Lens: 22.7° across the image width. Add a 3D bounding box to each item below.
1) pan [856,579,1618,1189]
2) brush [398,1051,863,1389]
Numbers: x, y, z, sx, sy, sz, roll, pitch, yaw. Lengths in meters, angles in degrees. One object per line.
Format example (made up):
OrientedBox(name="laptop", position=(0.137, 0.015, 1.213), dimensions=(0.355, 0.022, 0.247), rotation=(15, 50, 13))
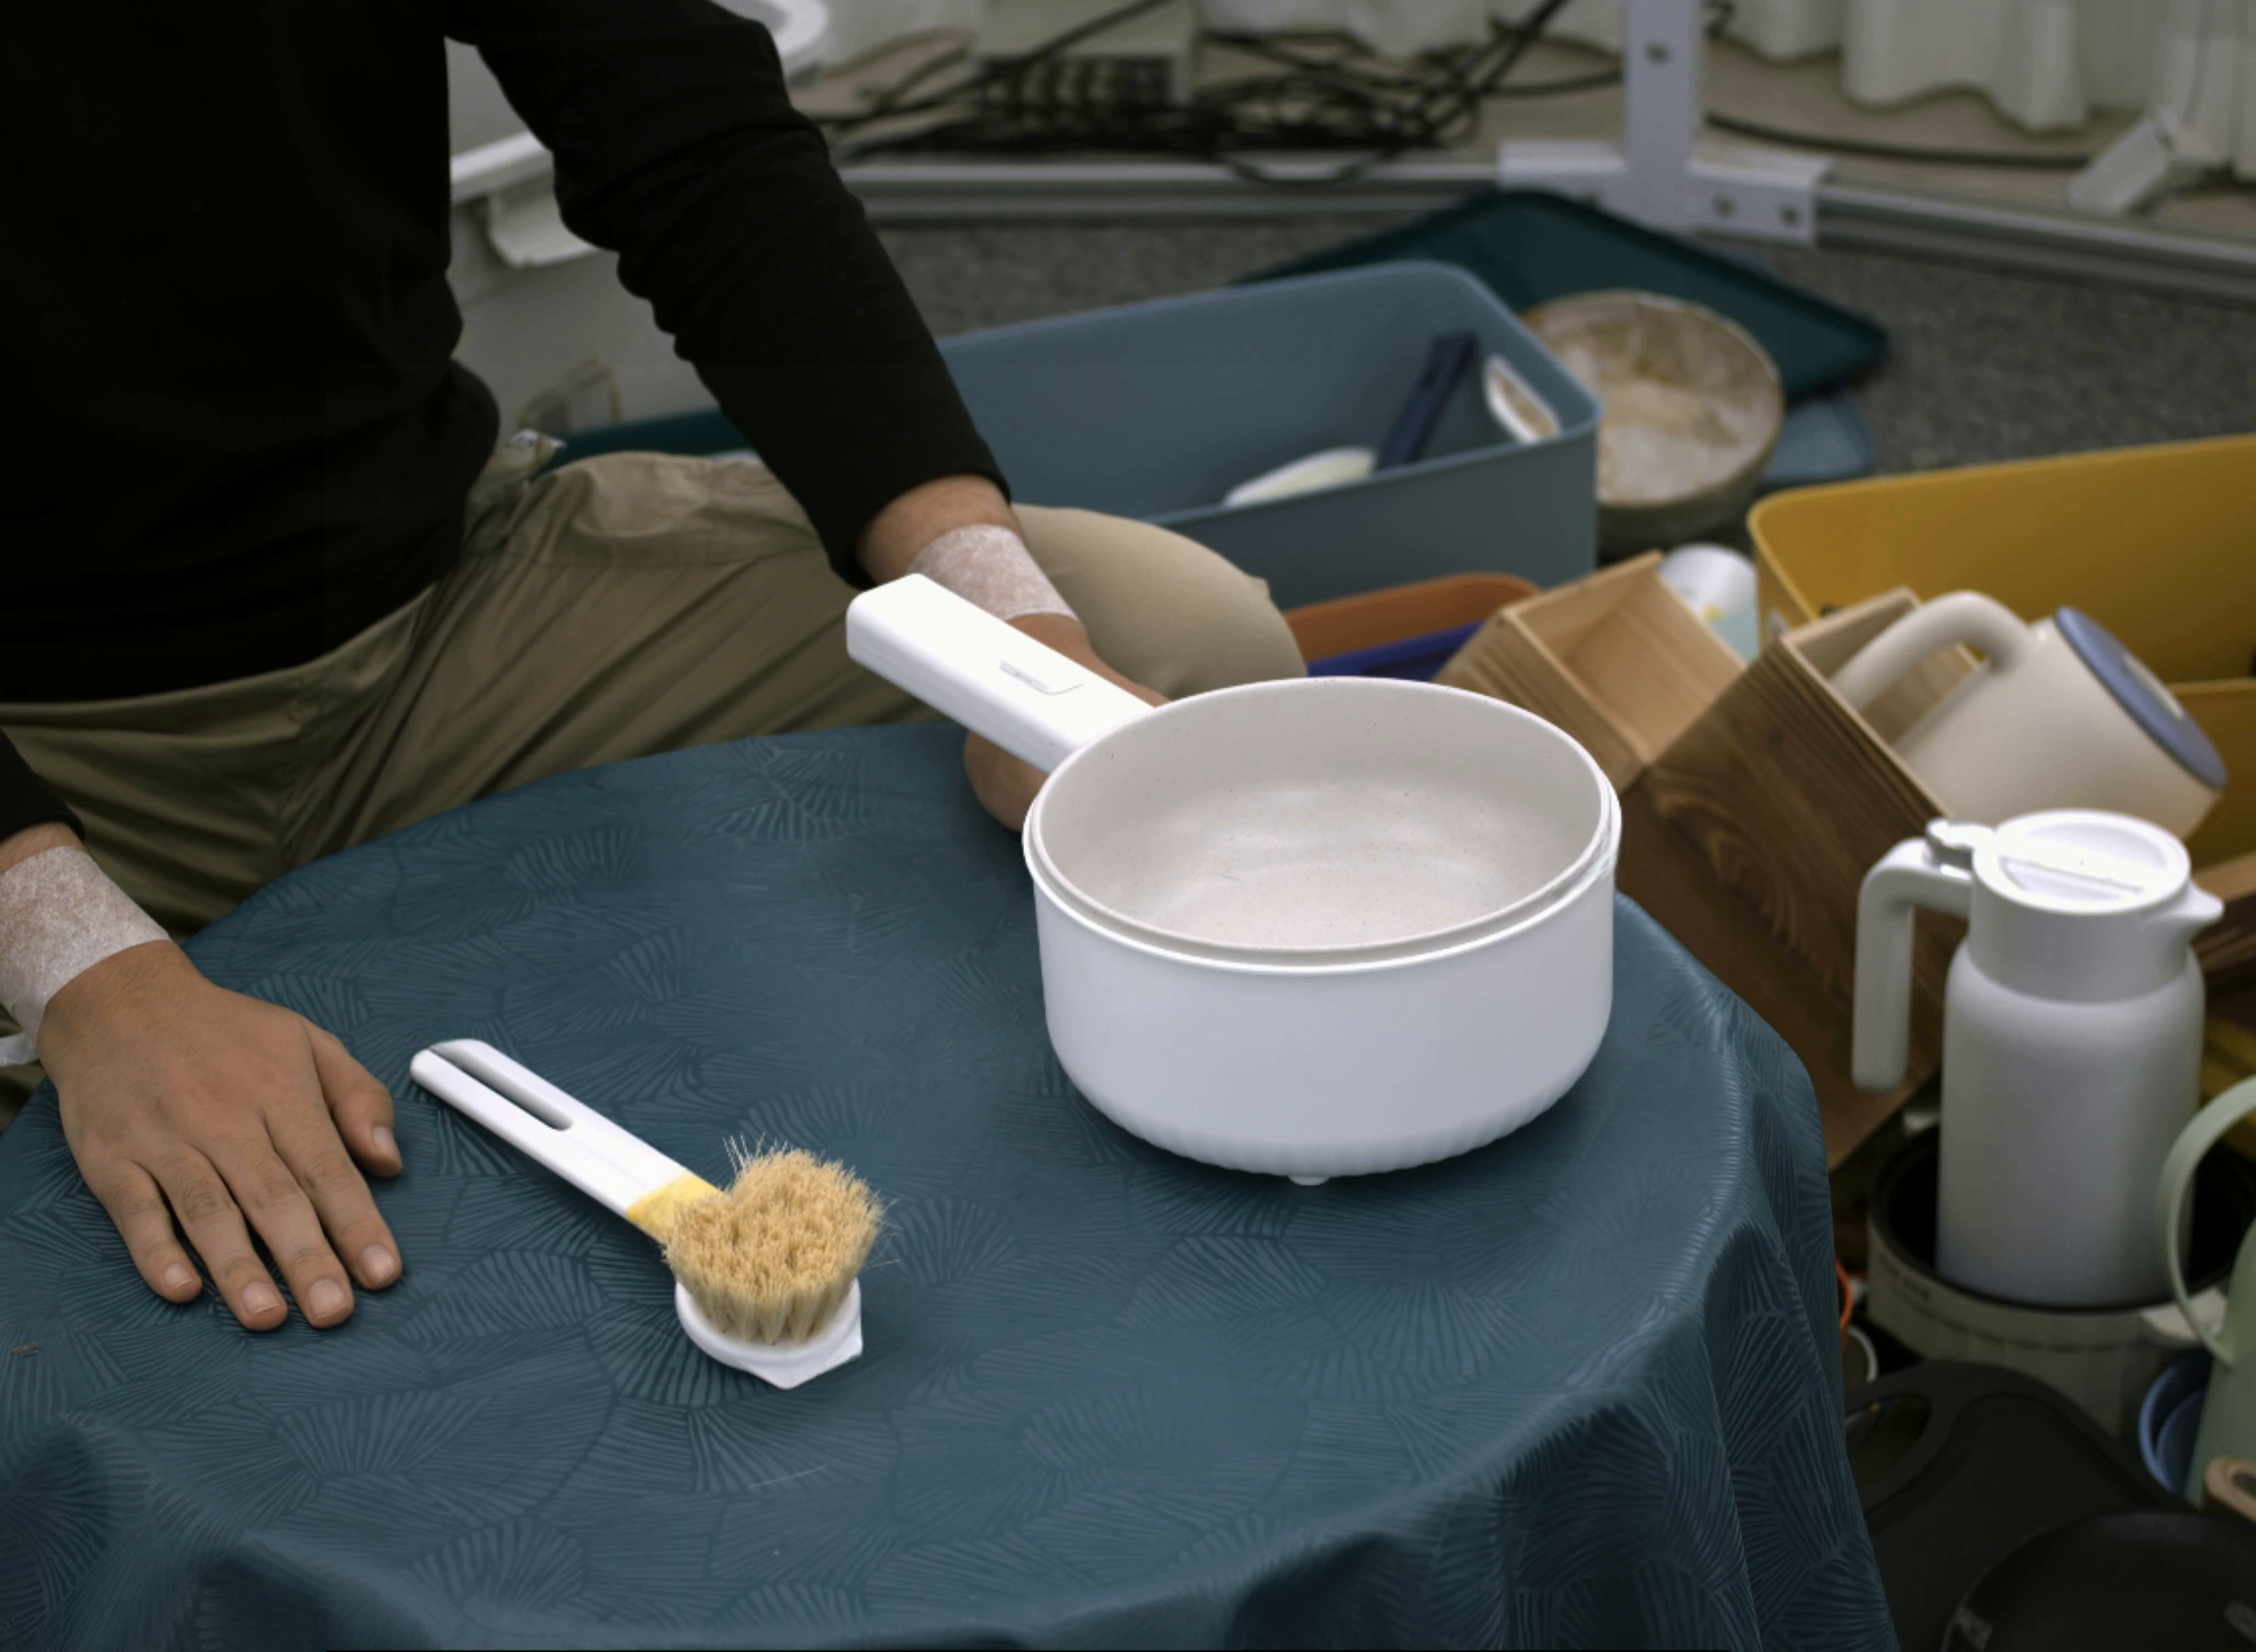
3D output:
OrientedBox(name="pan", position=(0.020, 0.014, 1.964), dimensions=(0.203, 0.101, 0.355), rotation=(-22, 32, -31))
OrientedBox(name="brush", position=(-0.174, 0.107, 1.850), dimensions=(0.069, 0.055, 0.267), rotation=(-15, 28, -30))
